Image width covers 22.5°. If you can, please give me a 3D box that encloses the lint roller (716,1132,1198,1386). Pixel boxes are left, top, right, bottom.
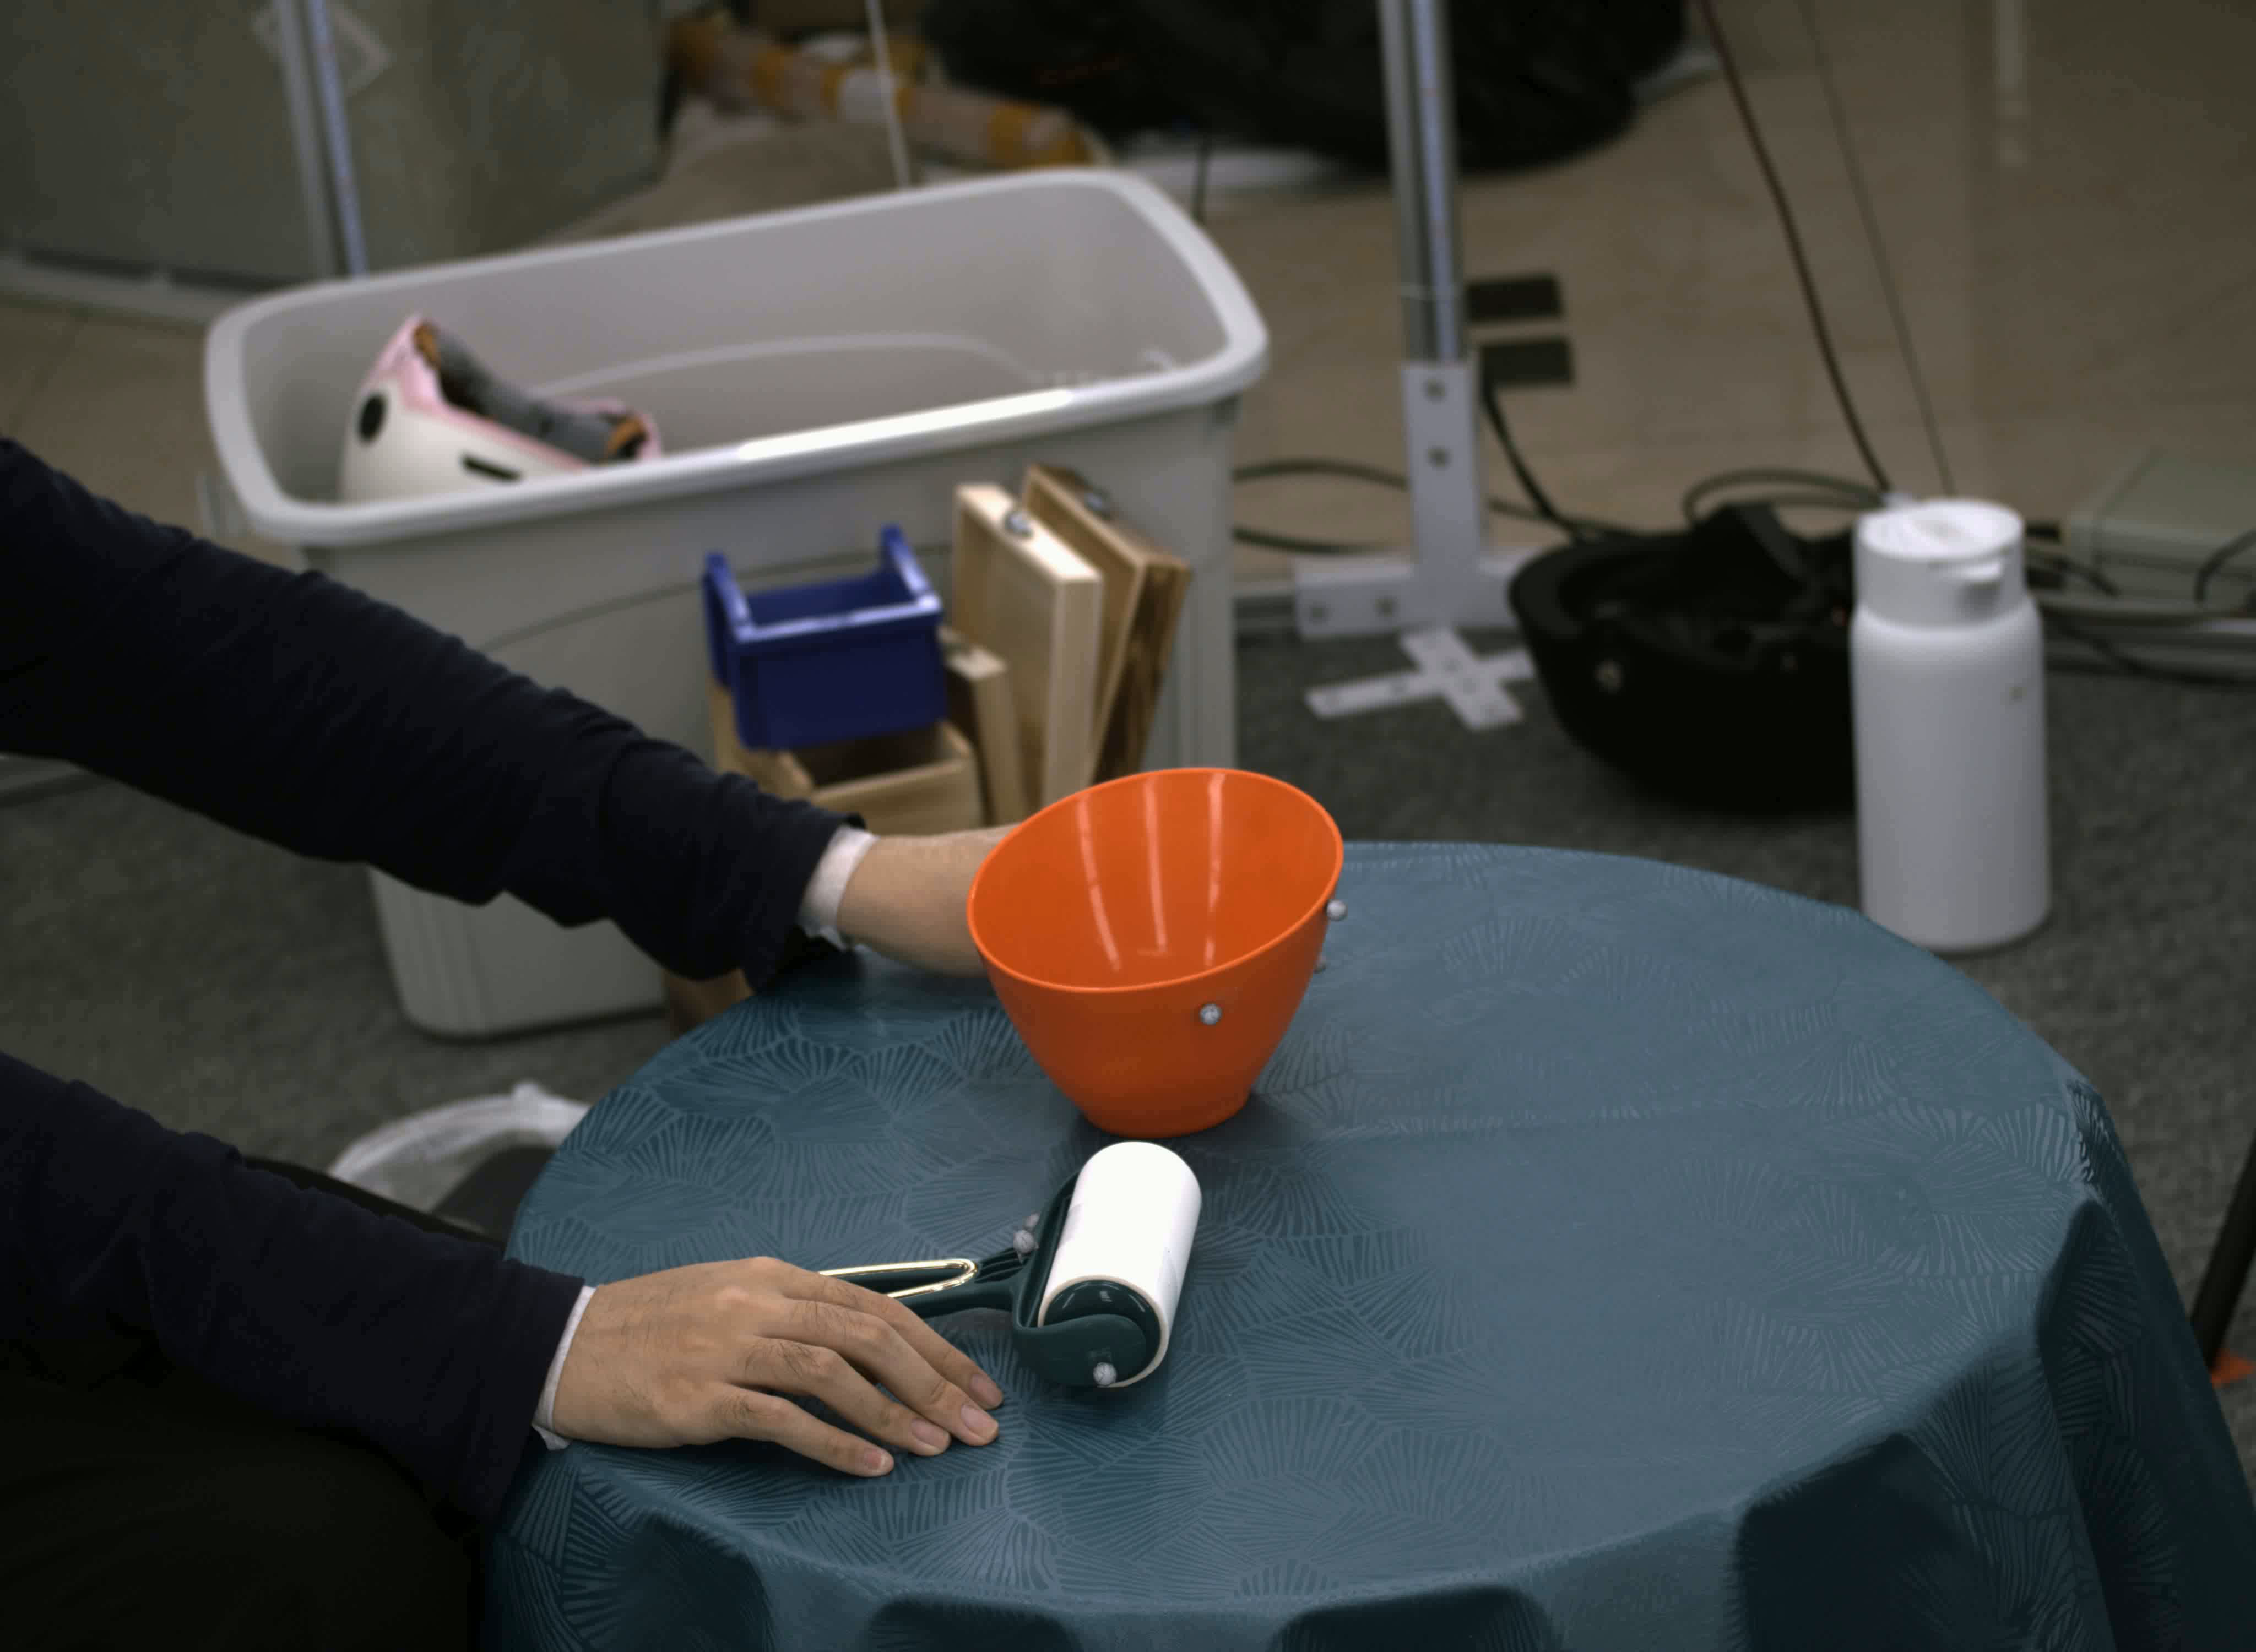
[{"bbox_3d":[-0.068,0.165,2.067,0.180,0.049,0.132,-6,25,11],"label":"lint roller"}]

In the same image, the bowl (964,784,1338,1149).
[{"bbox_3d":[0.014,0.061,2.204,0.148,0.106,0.146,-7,25,3],"label":"bowl"}]
